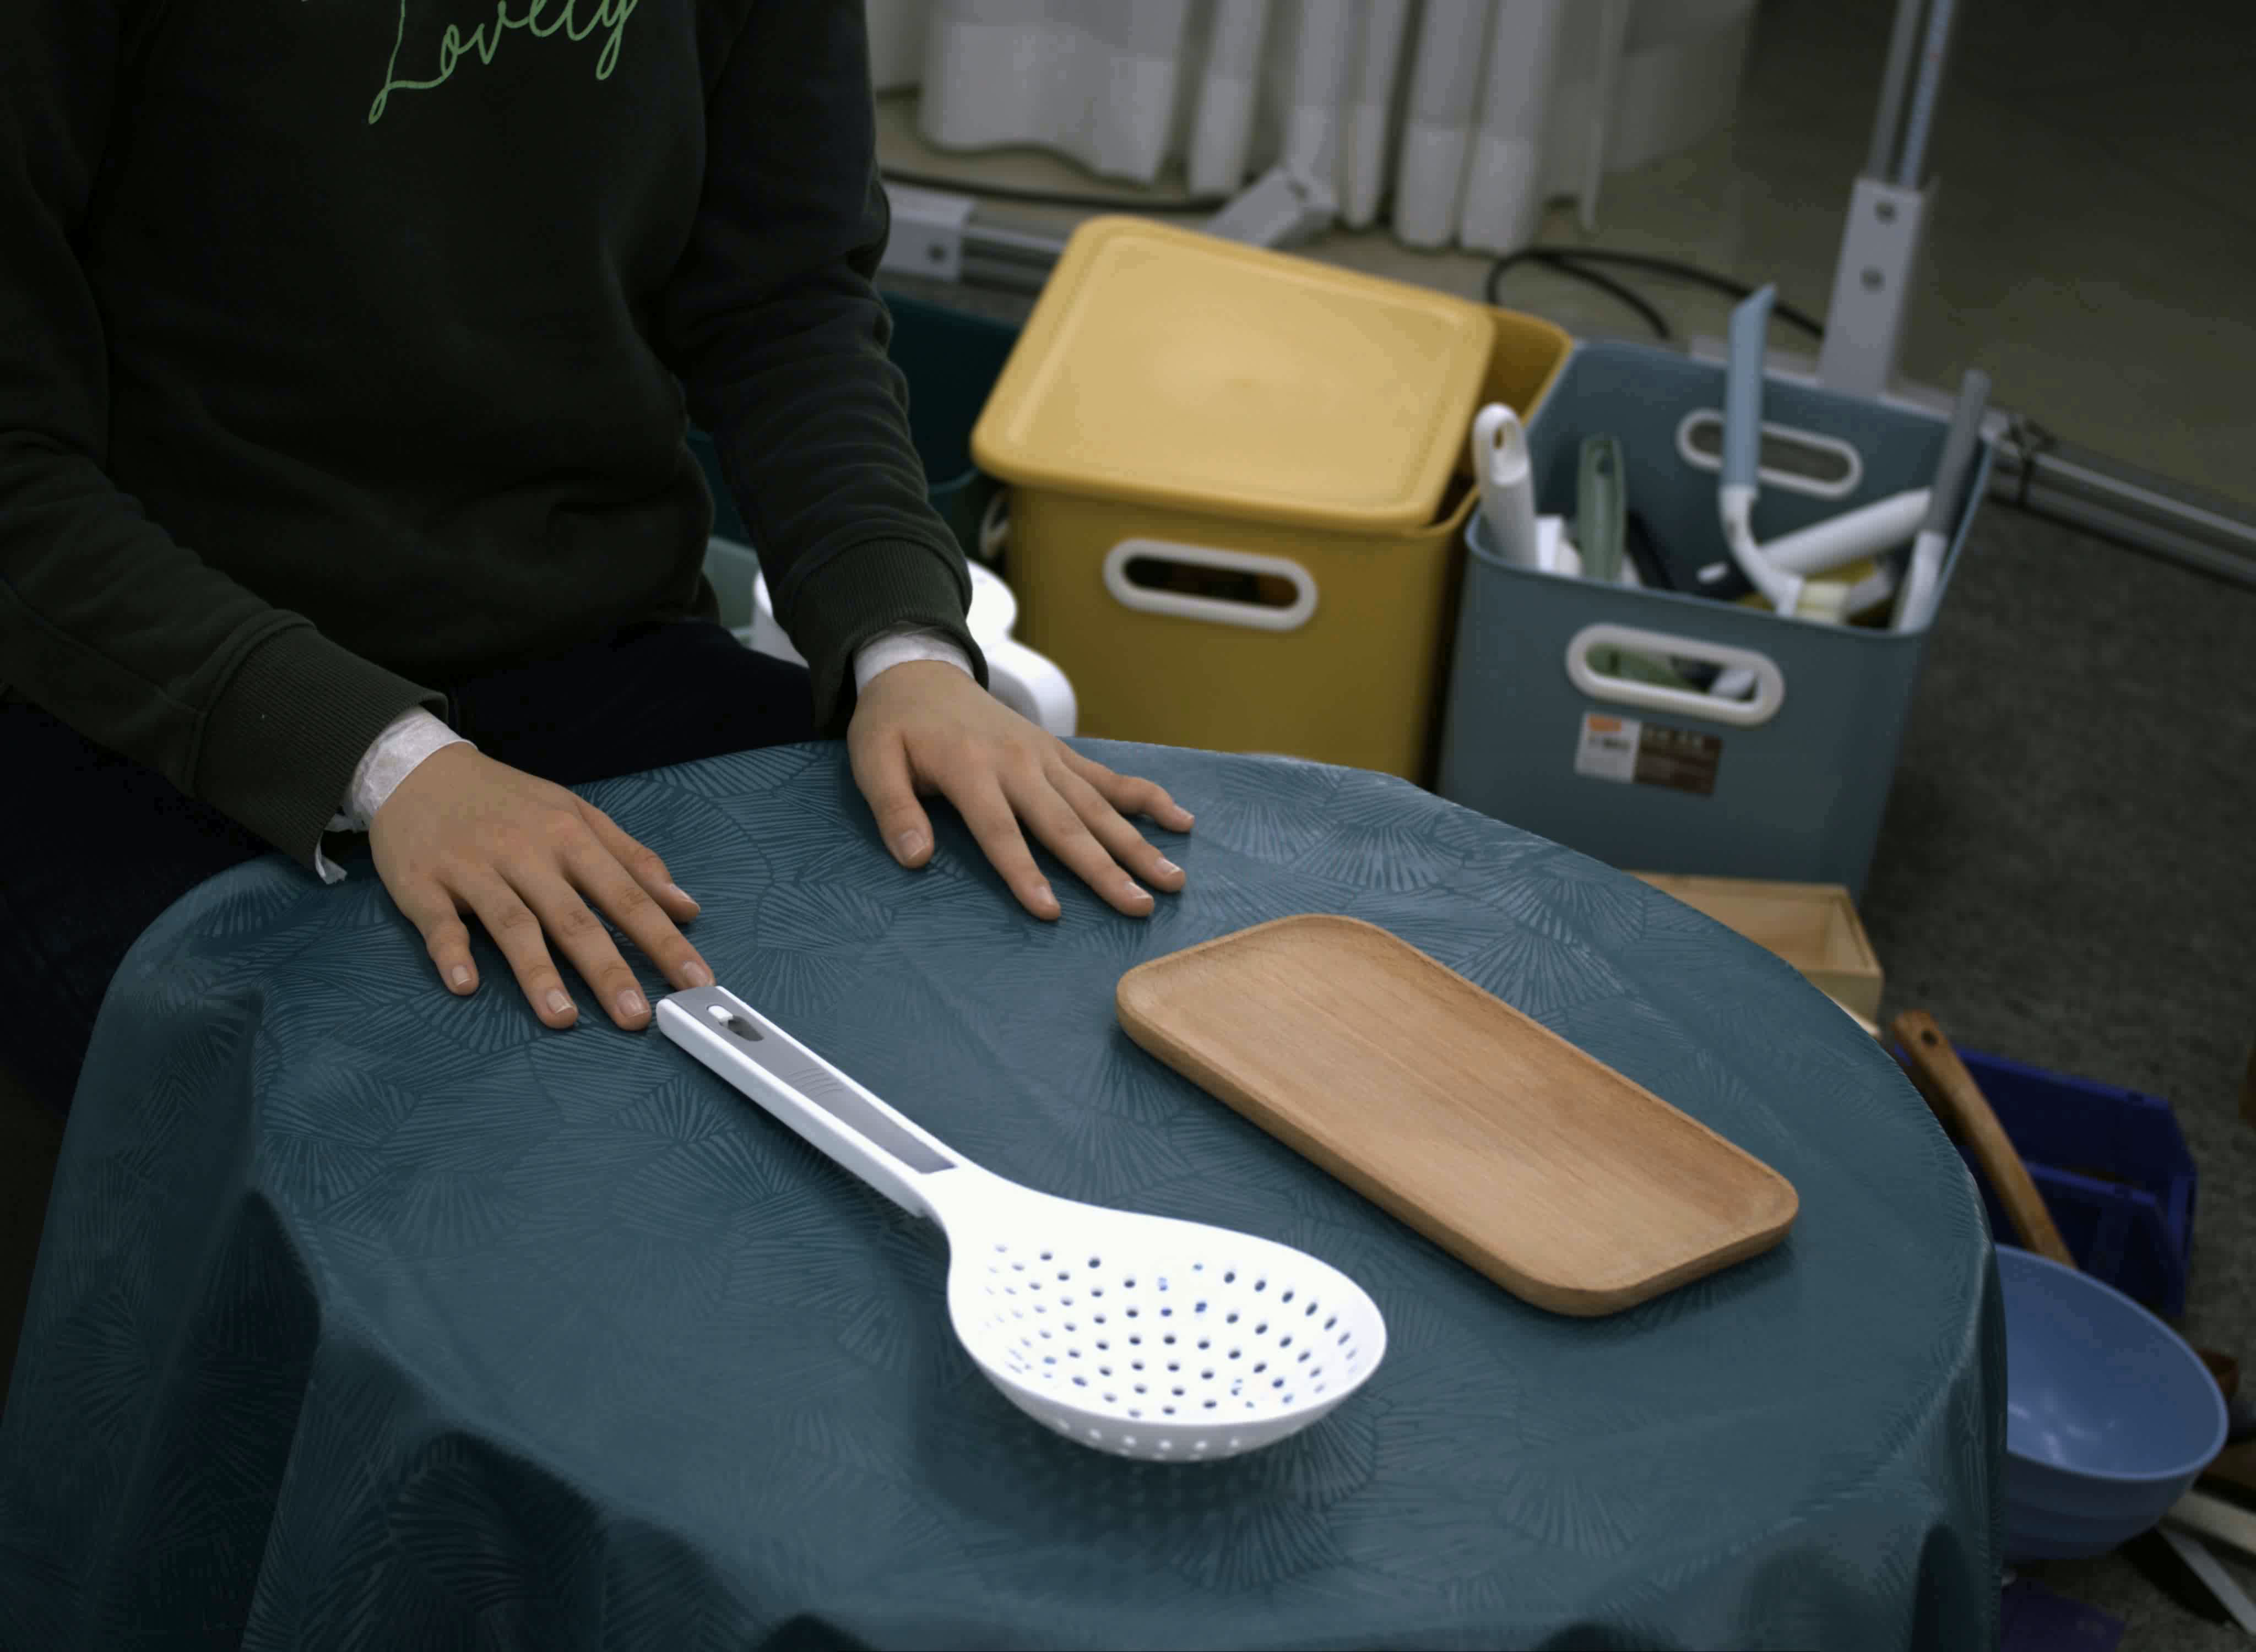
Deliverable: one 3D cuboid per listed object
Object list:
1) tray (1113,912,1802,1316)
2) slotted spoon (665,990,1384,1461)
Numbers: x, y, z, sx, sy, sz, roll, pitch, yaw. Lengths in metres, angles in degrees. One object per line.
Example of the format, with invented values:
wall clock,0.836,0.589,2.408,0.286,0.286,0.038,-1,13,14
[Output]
tray,0.112,0.098,1.858,0.130,0.023,0.253,-14,32,-39
slotted spoon,-0.052,0.124,1.738,0.135,0.045,0.353,-11,30,-35
